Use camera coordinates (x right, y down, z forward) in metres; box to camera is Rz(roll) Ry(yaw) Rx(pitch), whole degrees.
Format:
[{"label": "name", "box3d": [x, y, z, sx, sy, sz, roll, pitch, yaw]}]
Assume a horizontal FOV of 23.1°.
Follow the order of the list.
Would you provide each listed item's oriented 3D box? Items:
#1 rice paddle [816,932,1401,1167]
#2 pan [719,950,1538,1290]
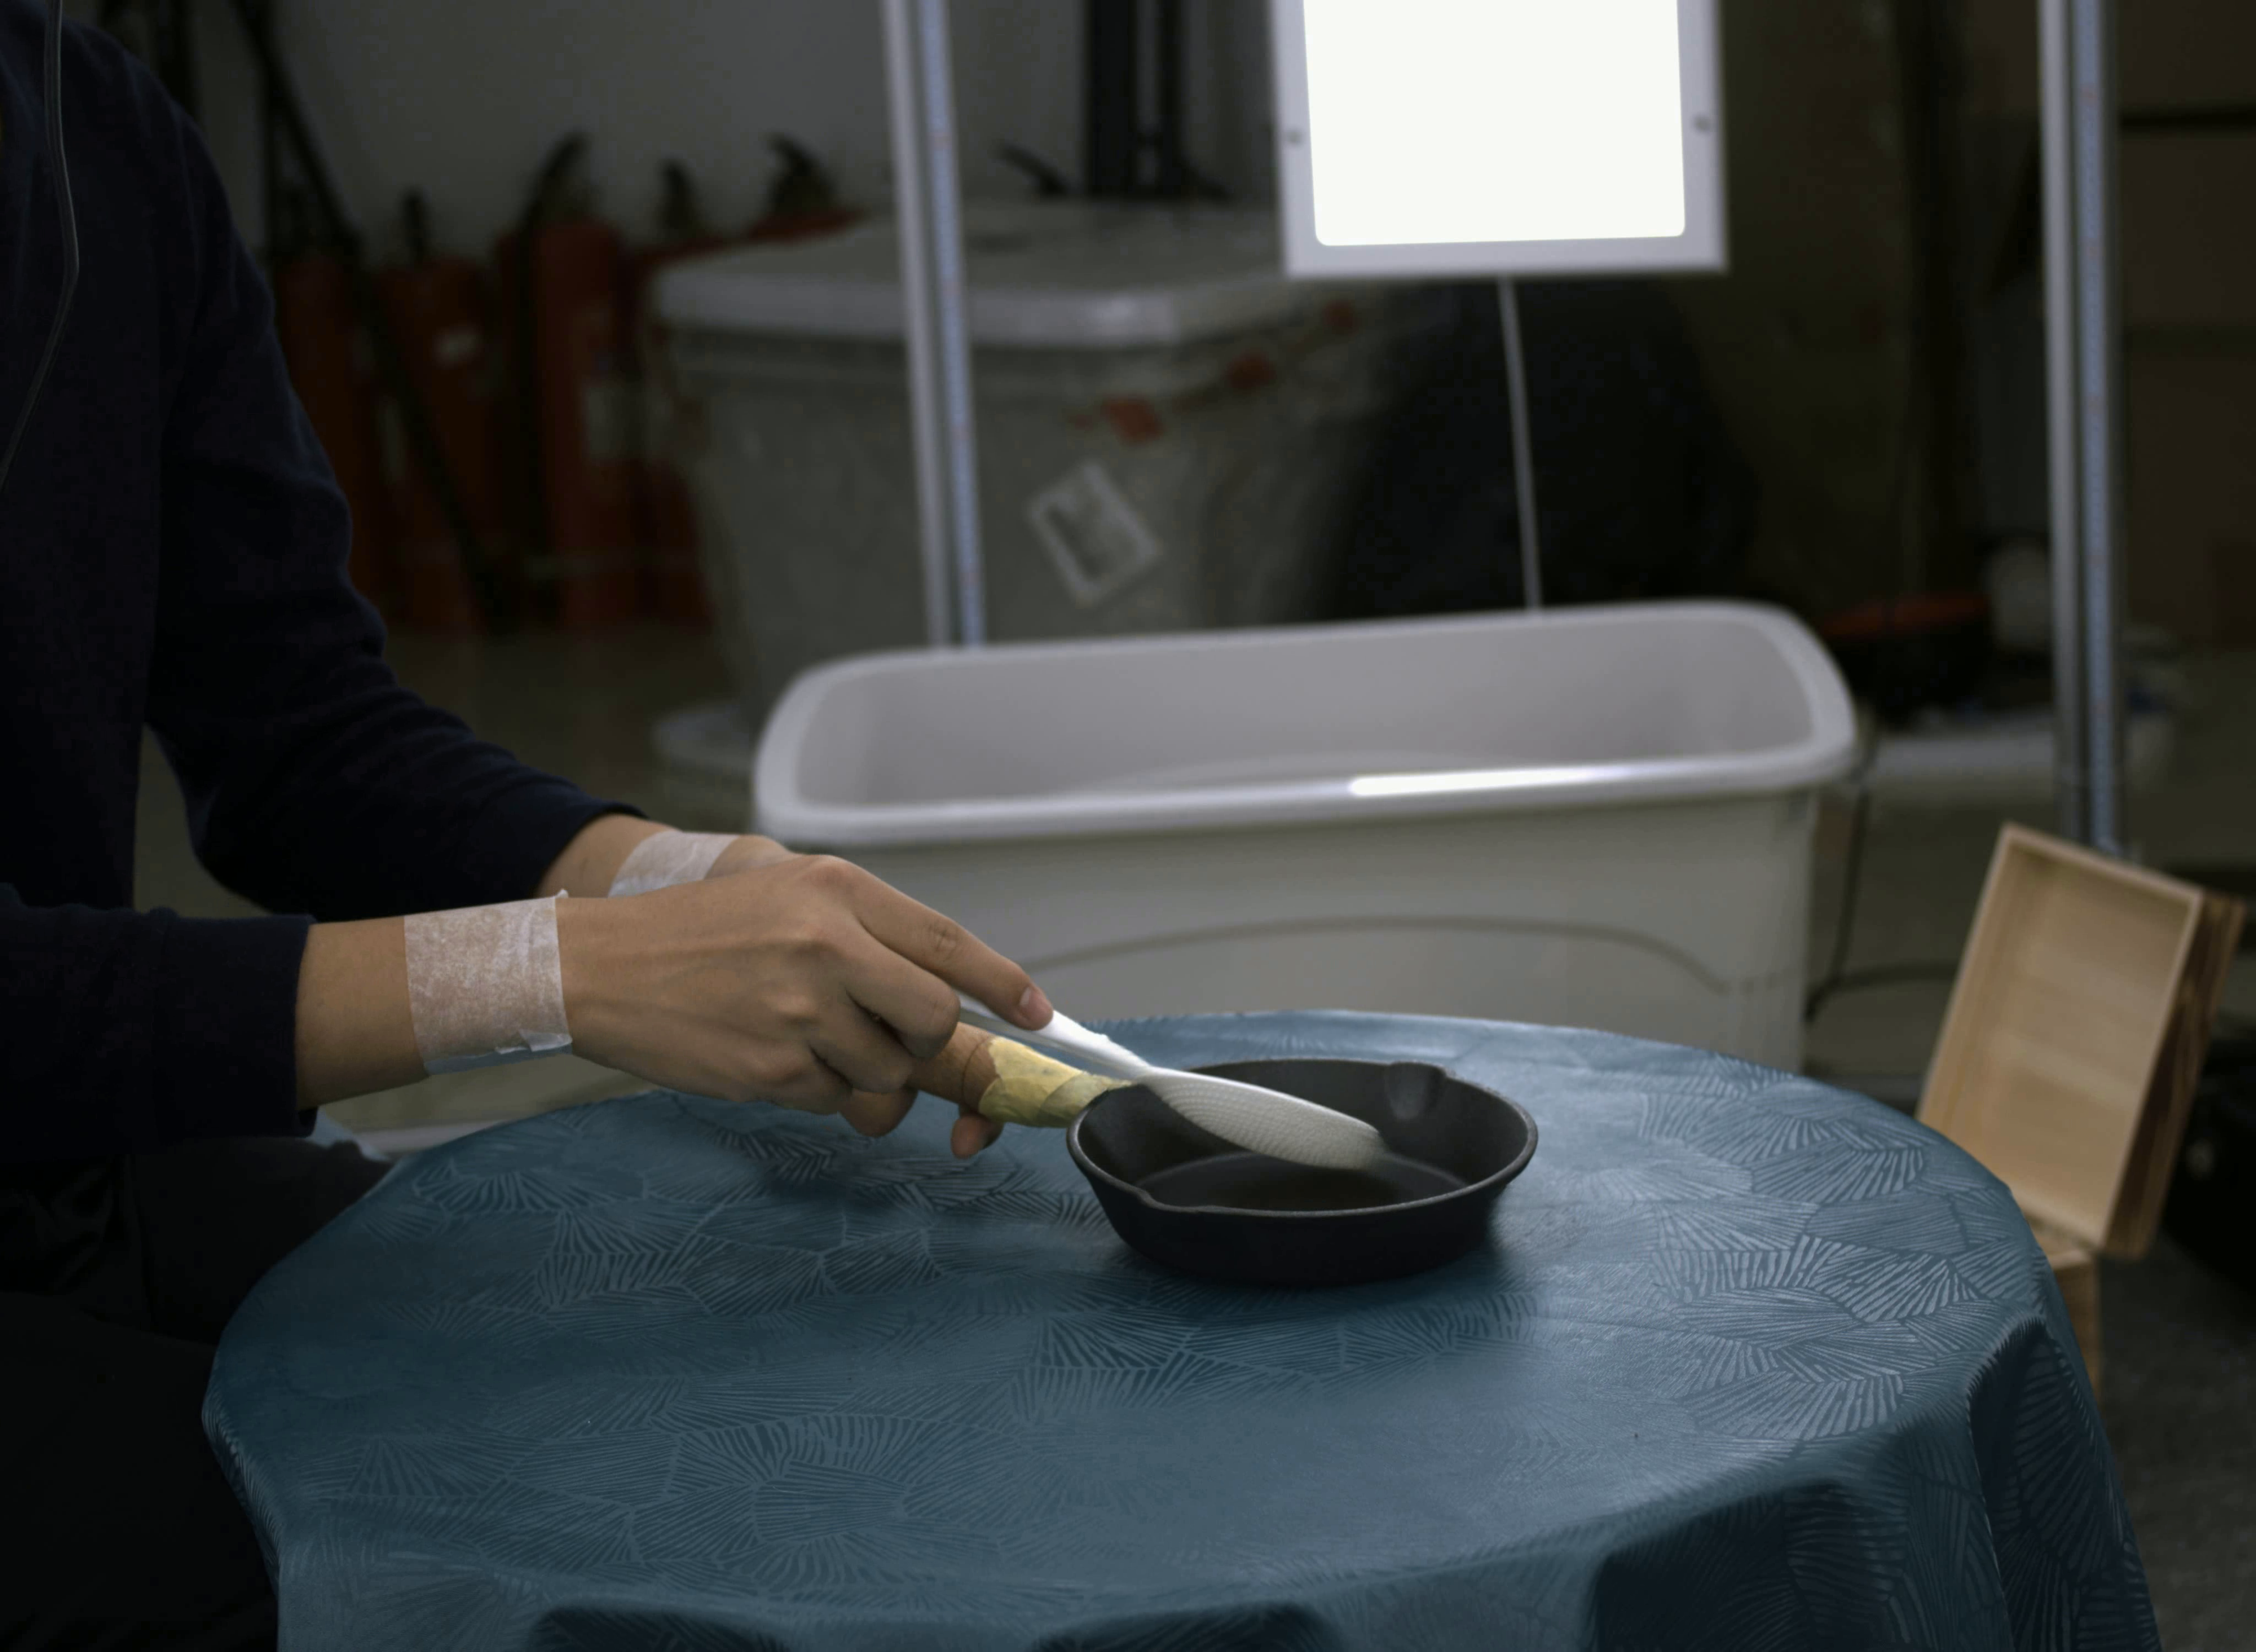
[{"label": "rice paddle", "box3d": [-0.003, 0.079, 1.843, 0.203, 0.029, 0.069, 18, -9, -8]}, {"label": "pan", "box3d": [-0.010, 0.095, 1.879, 0.330, 0.050, 0.165, 12, 22, 36]}]
